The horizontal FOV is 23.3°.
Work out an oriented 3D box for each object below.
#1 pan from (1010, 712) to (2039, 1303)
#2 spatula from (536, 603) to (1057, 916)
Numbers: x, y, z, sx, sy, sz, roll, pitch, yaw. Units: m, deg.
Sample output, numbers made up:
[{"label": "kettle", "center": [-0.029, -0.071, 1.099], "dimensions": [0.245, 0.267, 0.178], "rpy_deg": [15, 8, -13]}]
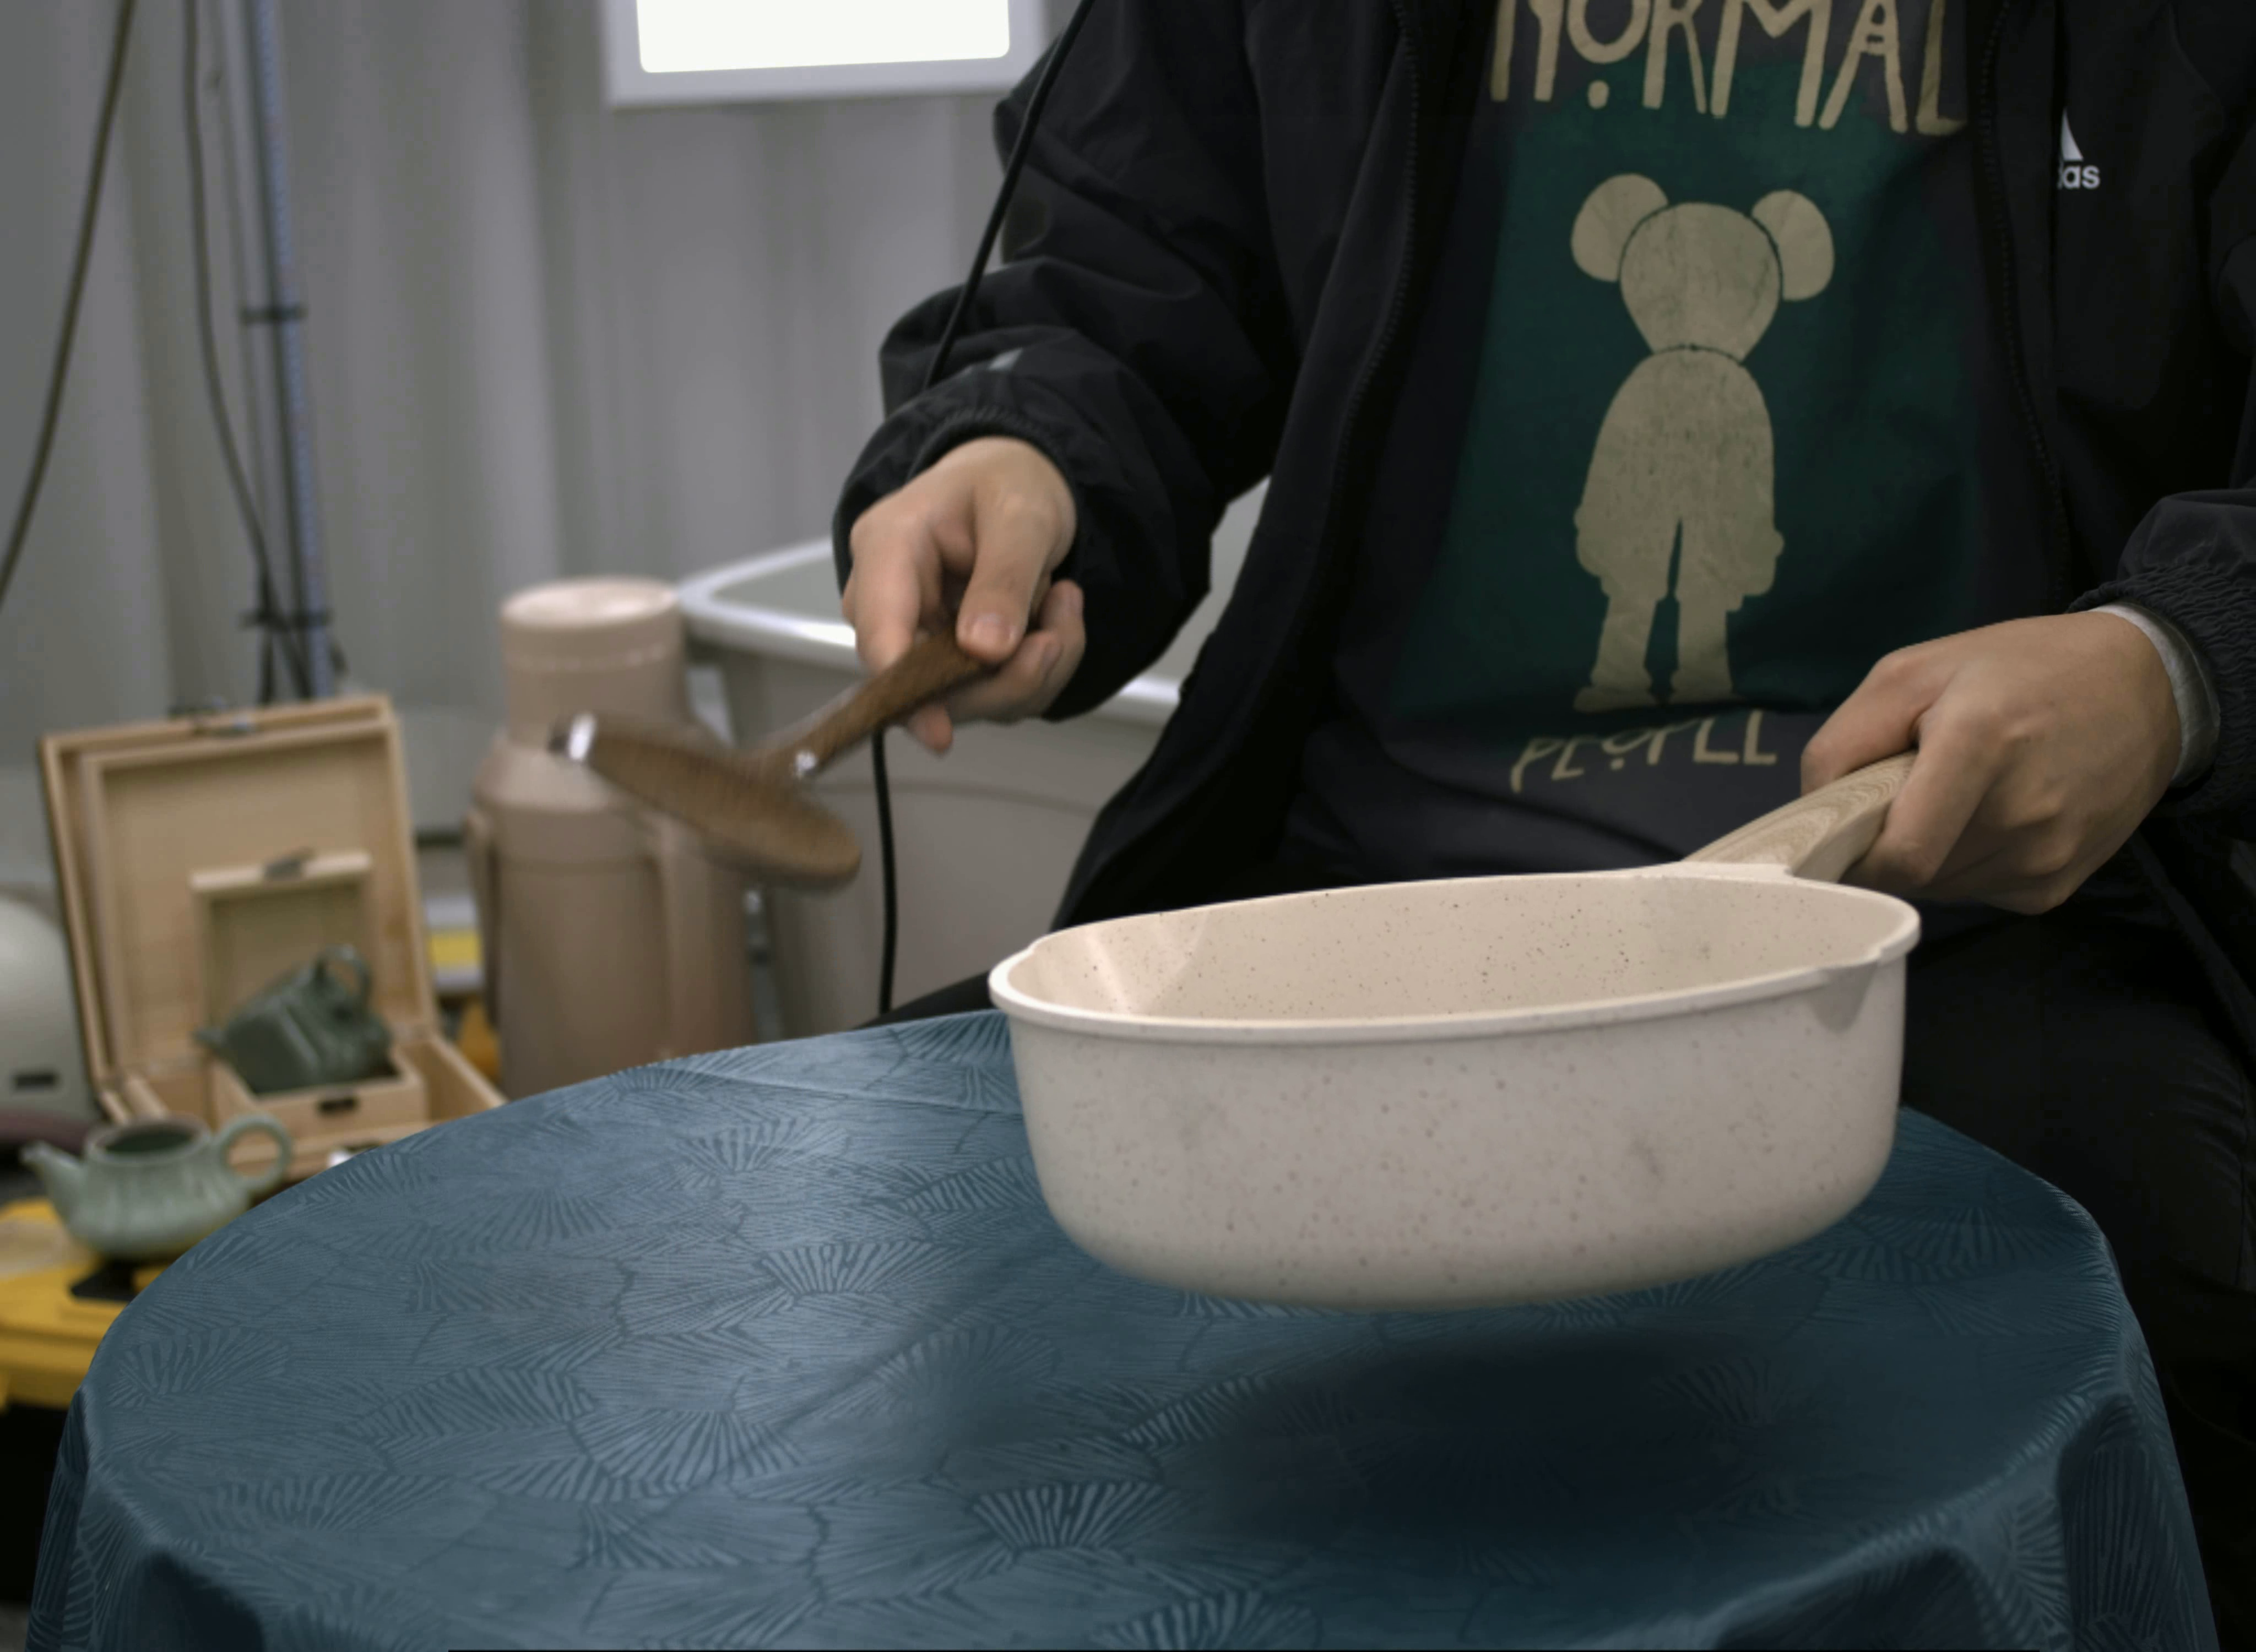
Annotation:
[{"label": "pan", "center": [0.151, 0.048, 1.544], "dimensions": [0.264, 0.102, 0.434], "rpy_deg": [-1, 8, 38]}, {"label": "spatula", "center": [-0.083, -0.030, 1.710], "dimensions": [0.096, 0.016, 0.387], "rpy_deg": [24, 18, 9]}]
